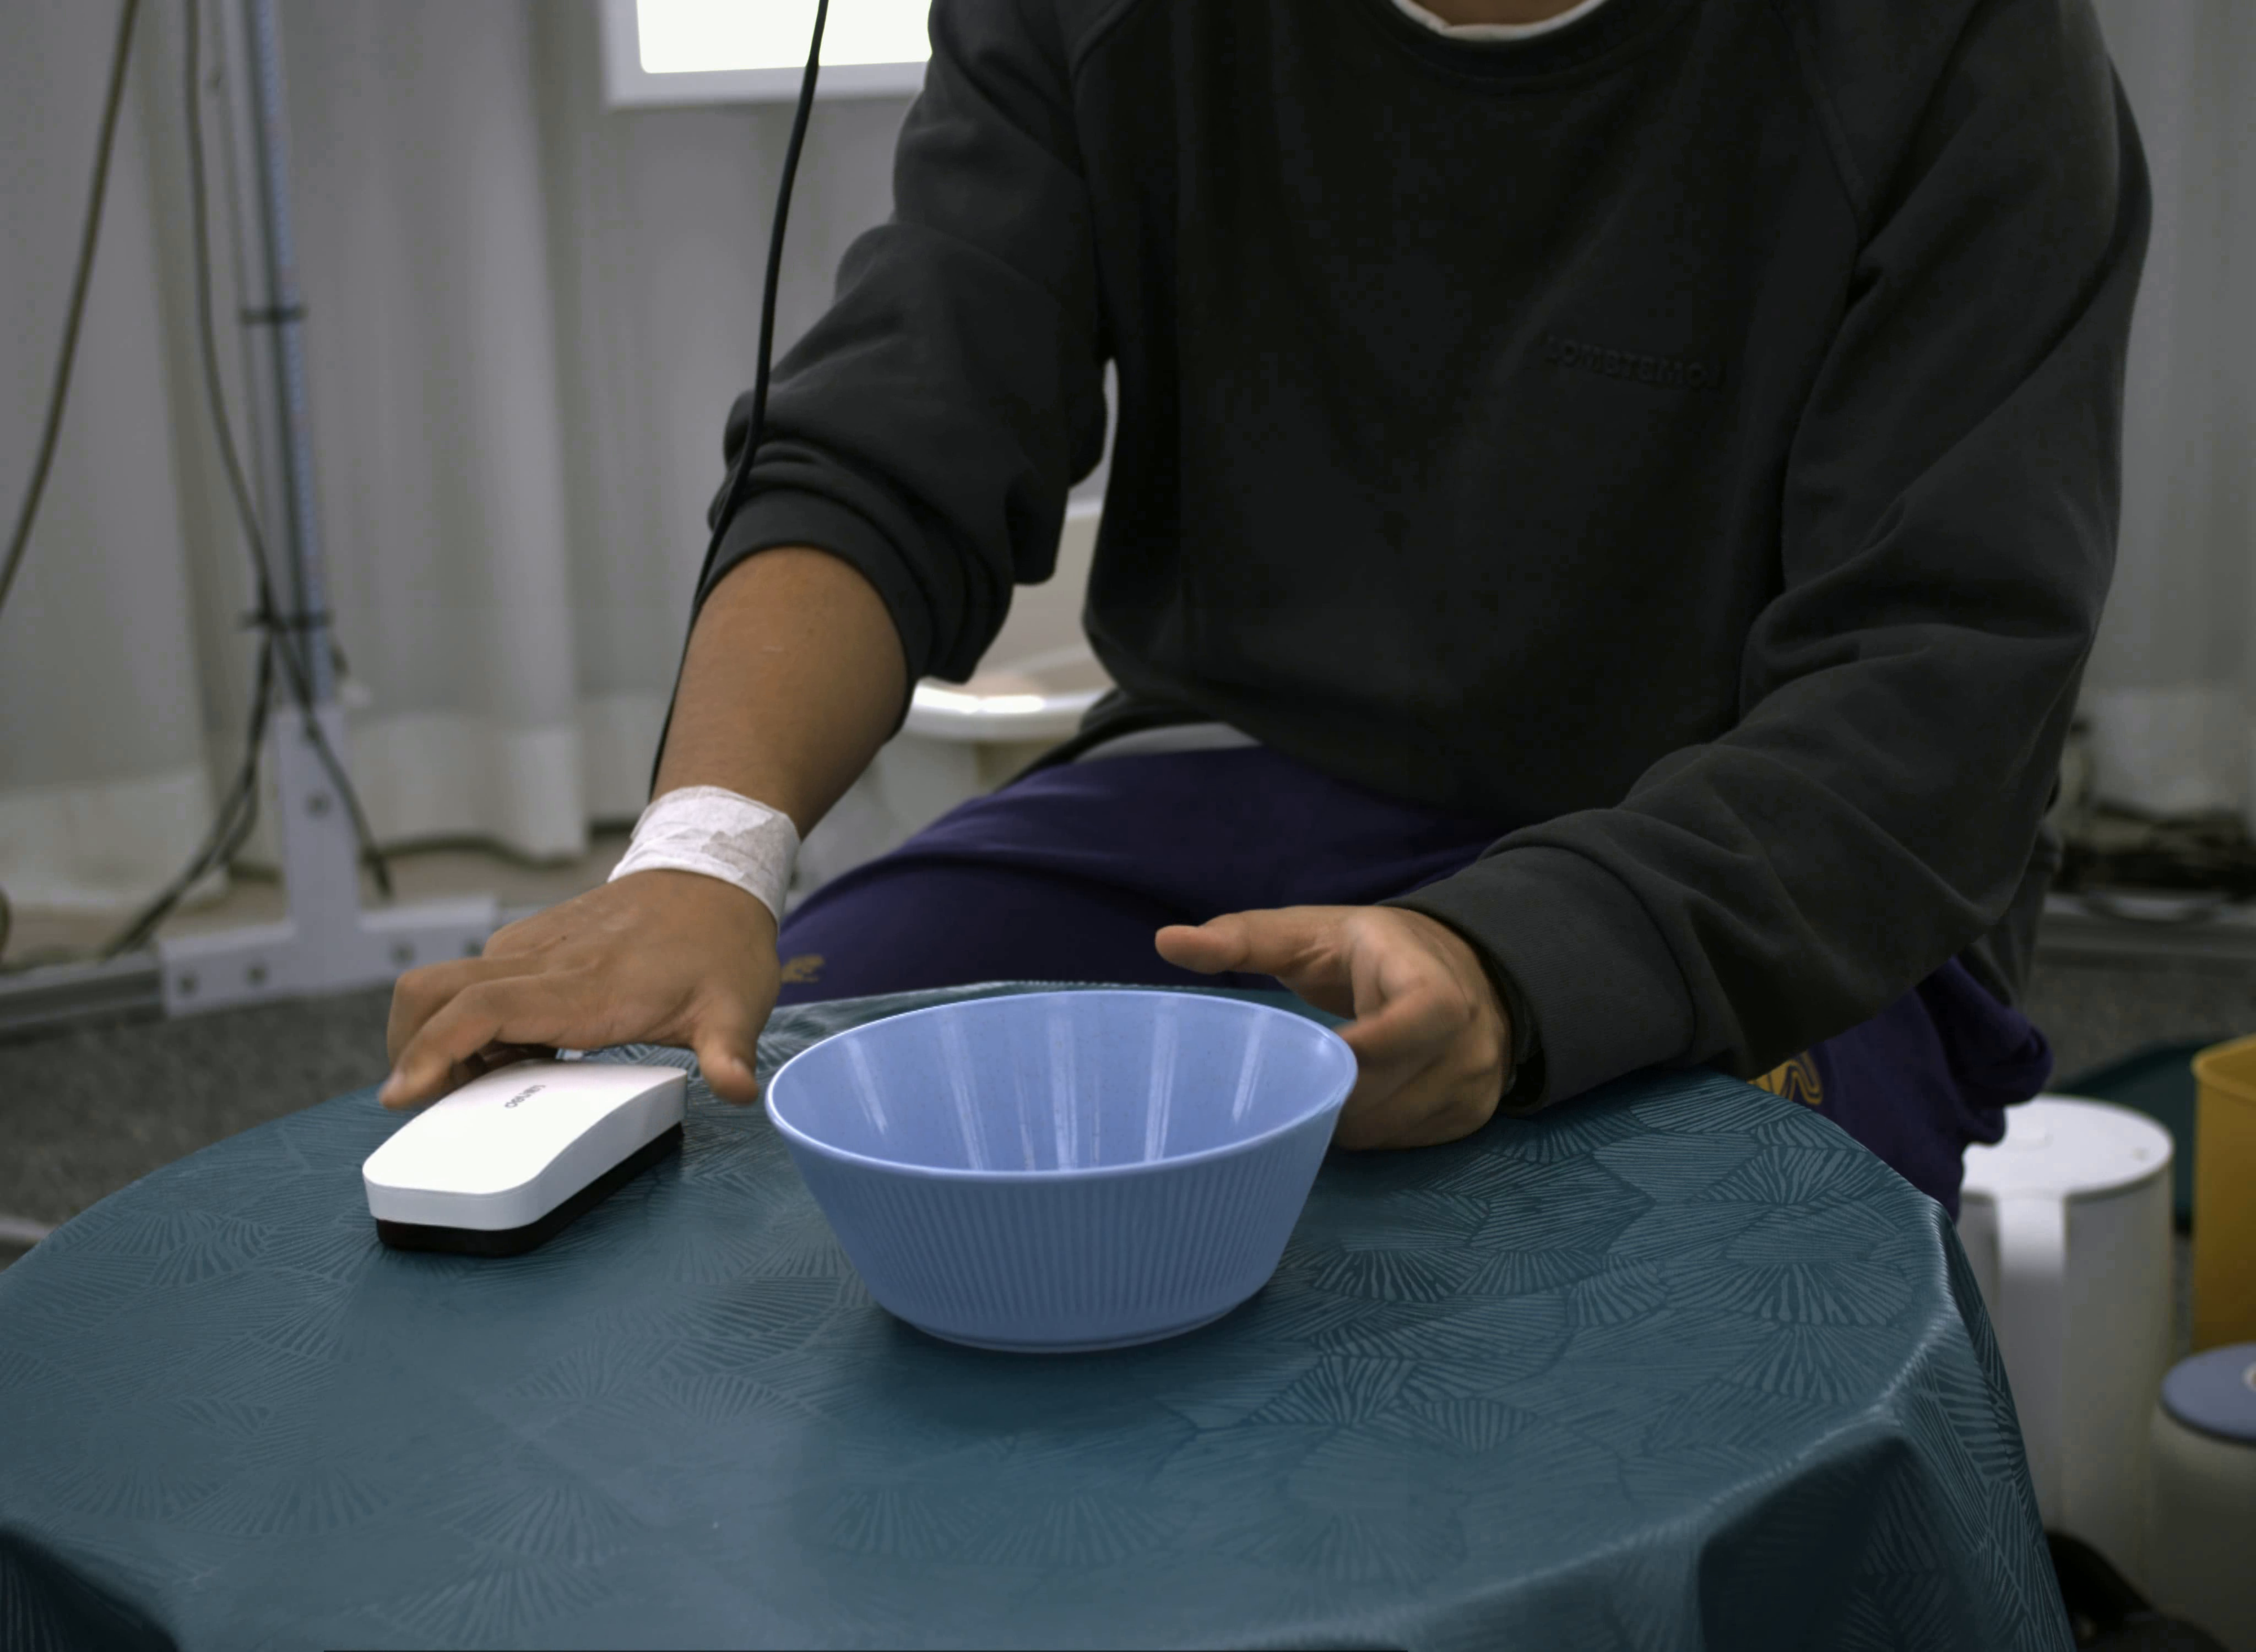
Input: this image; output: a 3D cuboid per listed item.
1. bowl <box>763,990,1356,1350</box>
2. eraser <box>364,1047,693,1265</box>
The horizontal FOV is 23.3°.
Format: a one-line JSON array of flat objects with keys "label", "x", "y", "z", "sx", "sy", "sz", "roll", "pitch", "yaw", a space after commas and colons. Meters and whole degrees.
[{"label": "bowl", "x": -0.019, "y": 0.104, "z": 1.621, "sx": 0.175, "sy": 0.070, "sz": 0.177, "roll": -2, "pitch": 15, "yaw": 0}, {"label": "eraser", "x": -0.188, "y": 0.101, "z": 1.741, "sx": 0.063, "sy": 0.034, "sz": 0.132, "roll": 5, "pitch": 19, "yaw": 23}]
